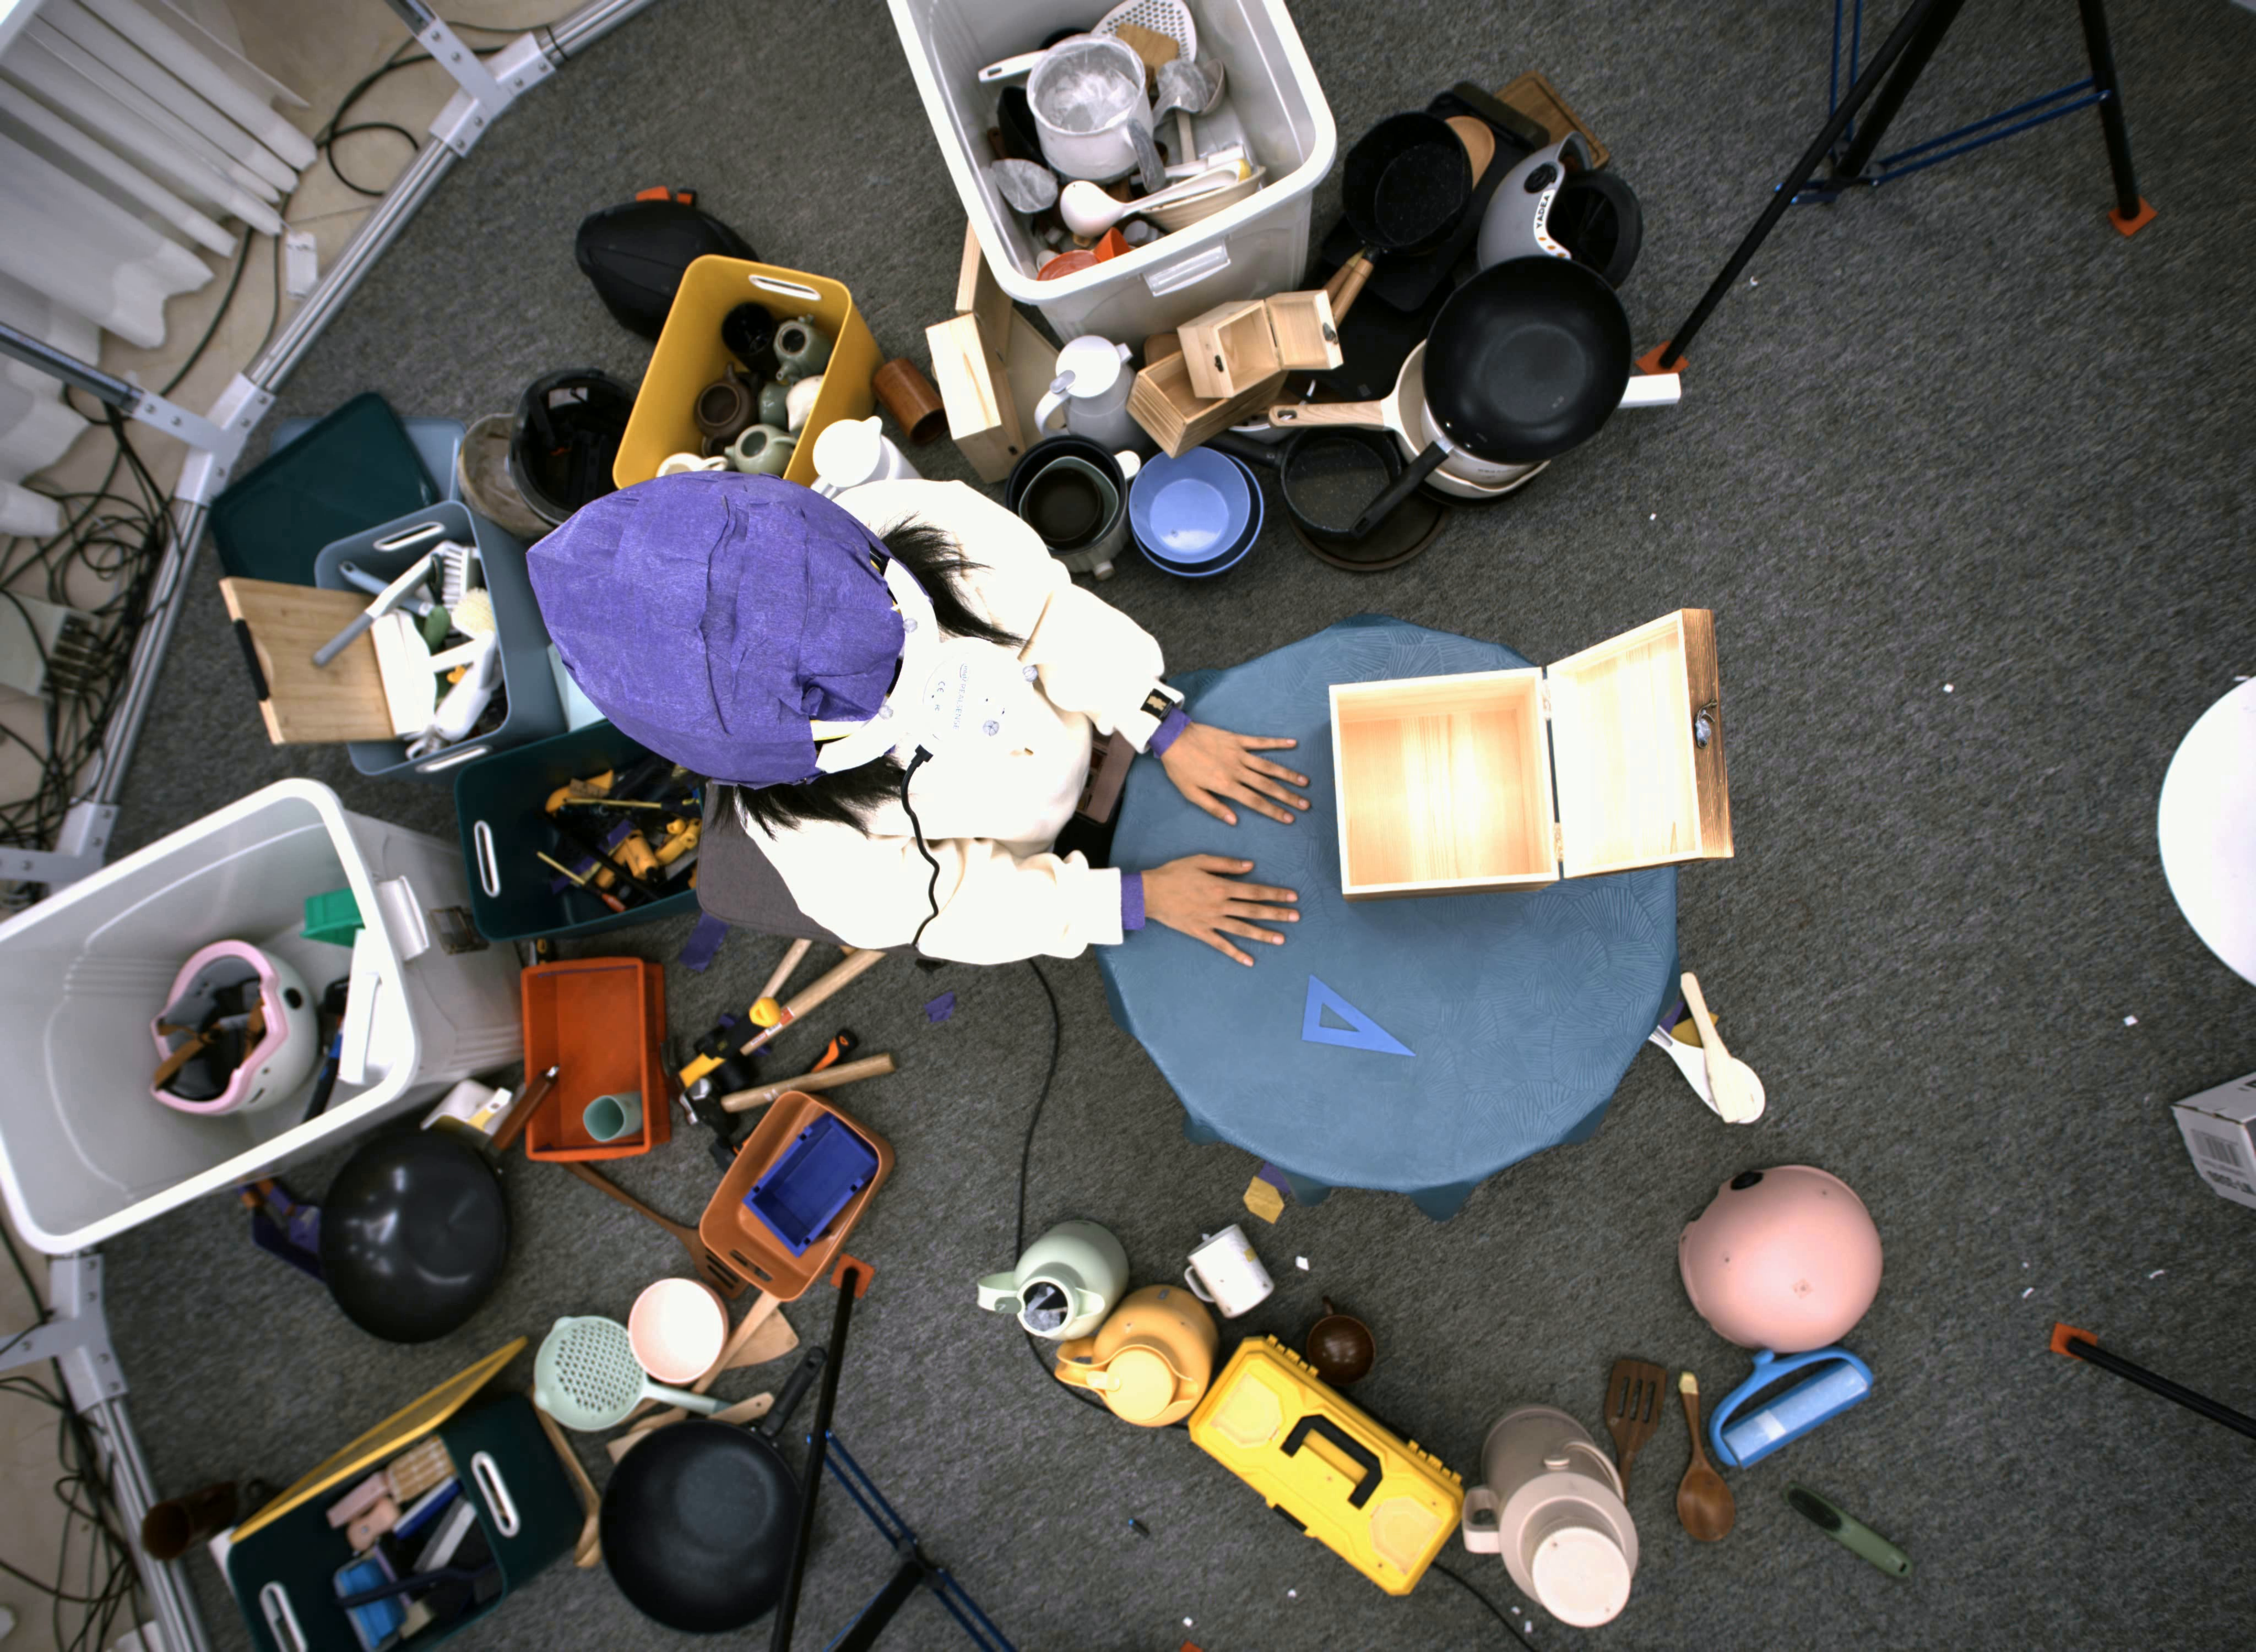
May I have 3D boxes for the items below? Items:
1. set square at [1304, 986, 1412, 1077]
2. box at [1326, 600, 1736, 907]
[{"bbox_3d":[0.233,0.231,1.456,0.131,0.006,0.061,41,92,10],"label":"set square"},{"bbox_3d":[0.345,-0.051,1.272,0.323,0.376,0.207,-4,83,9],"label":"box"}]
